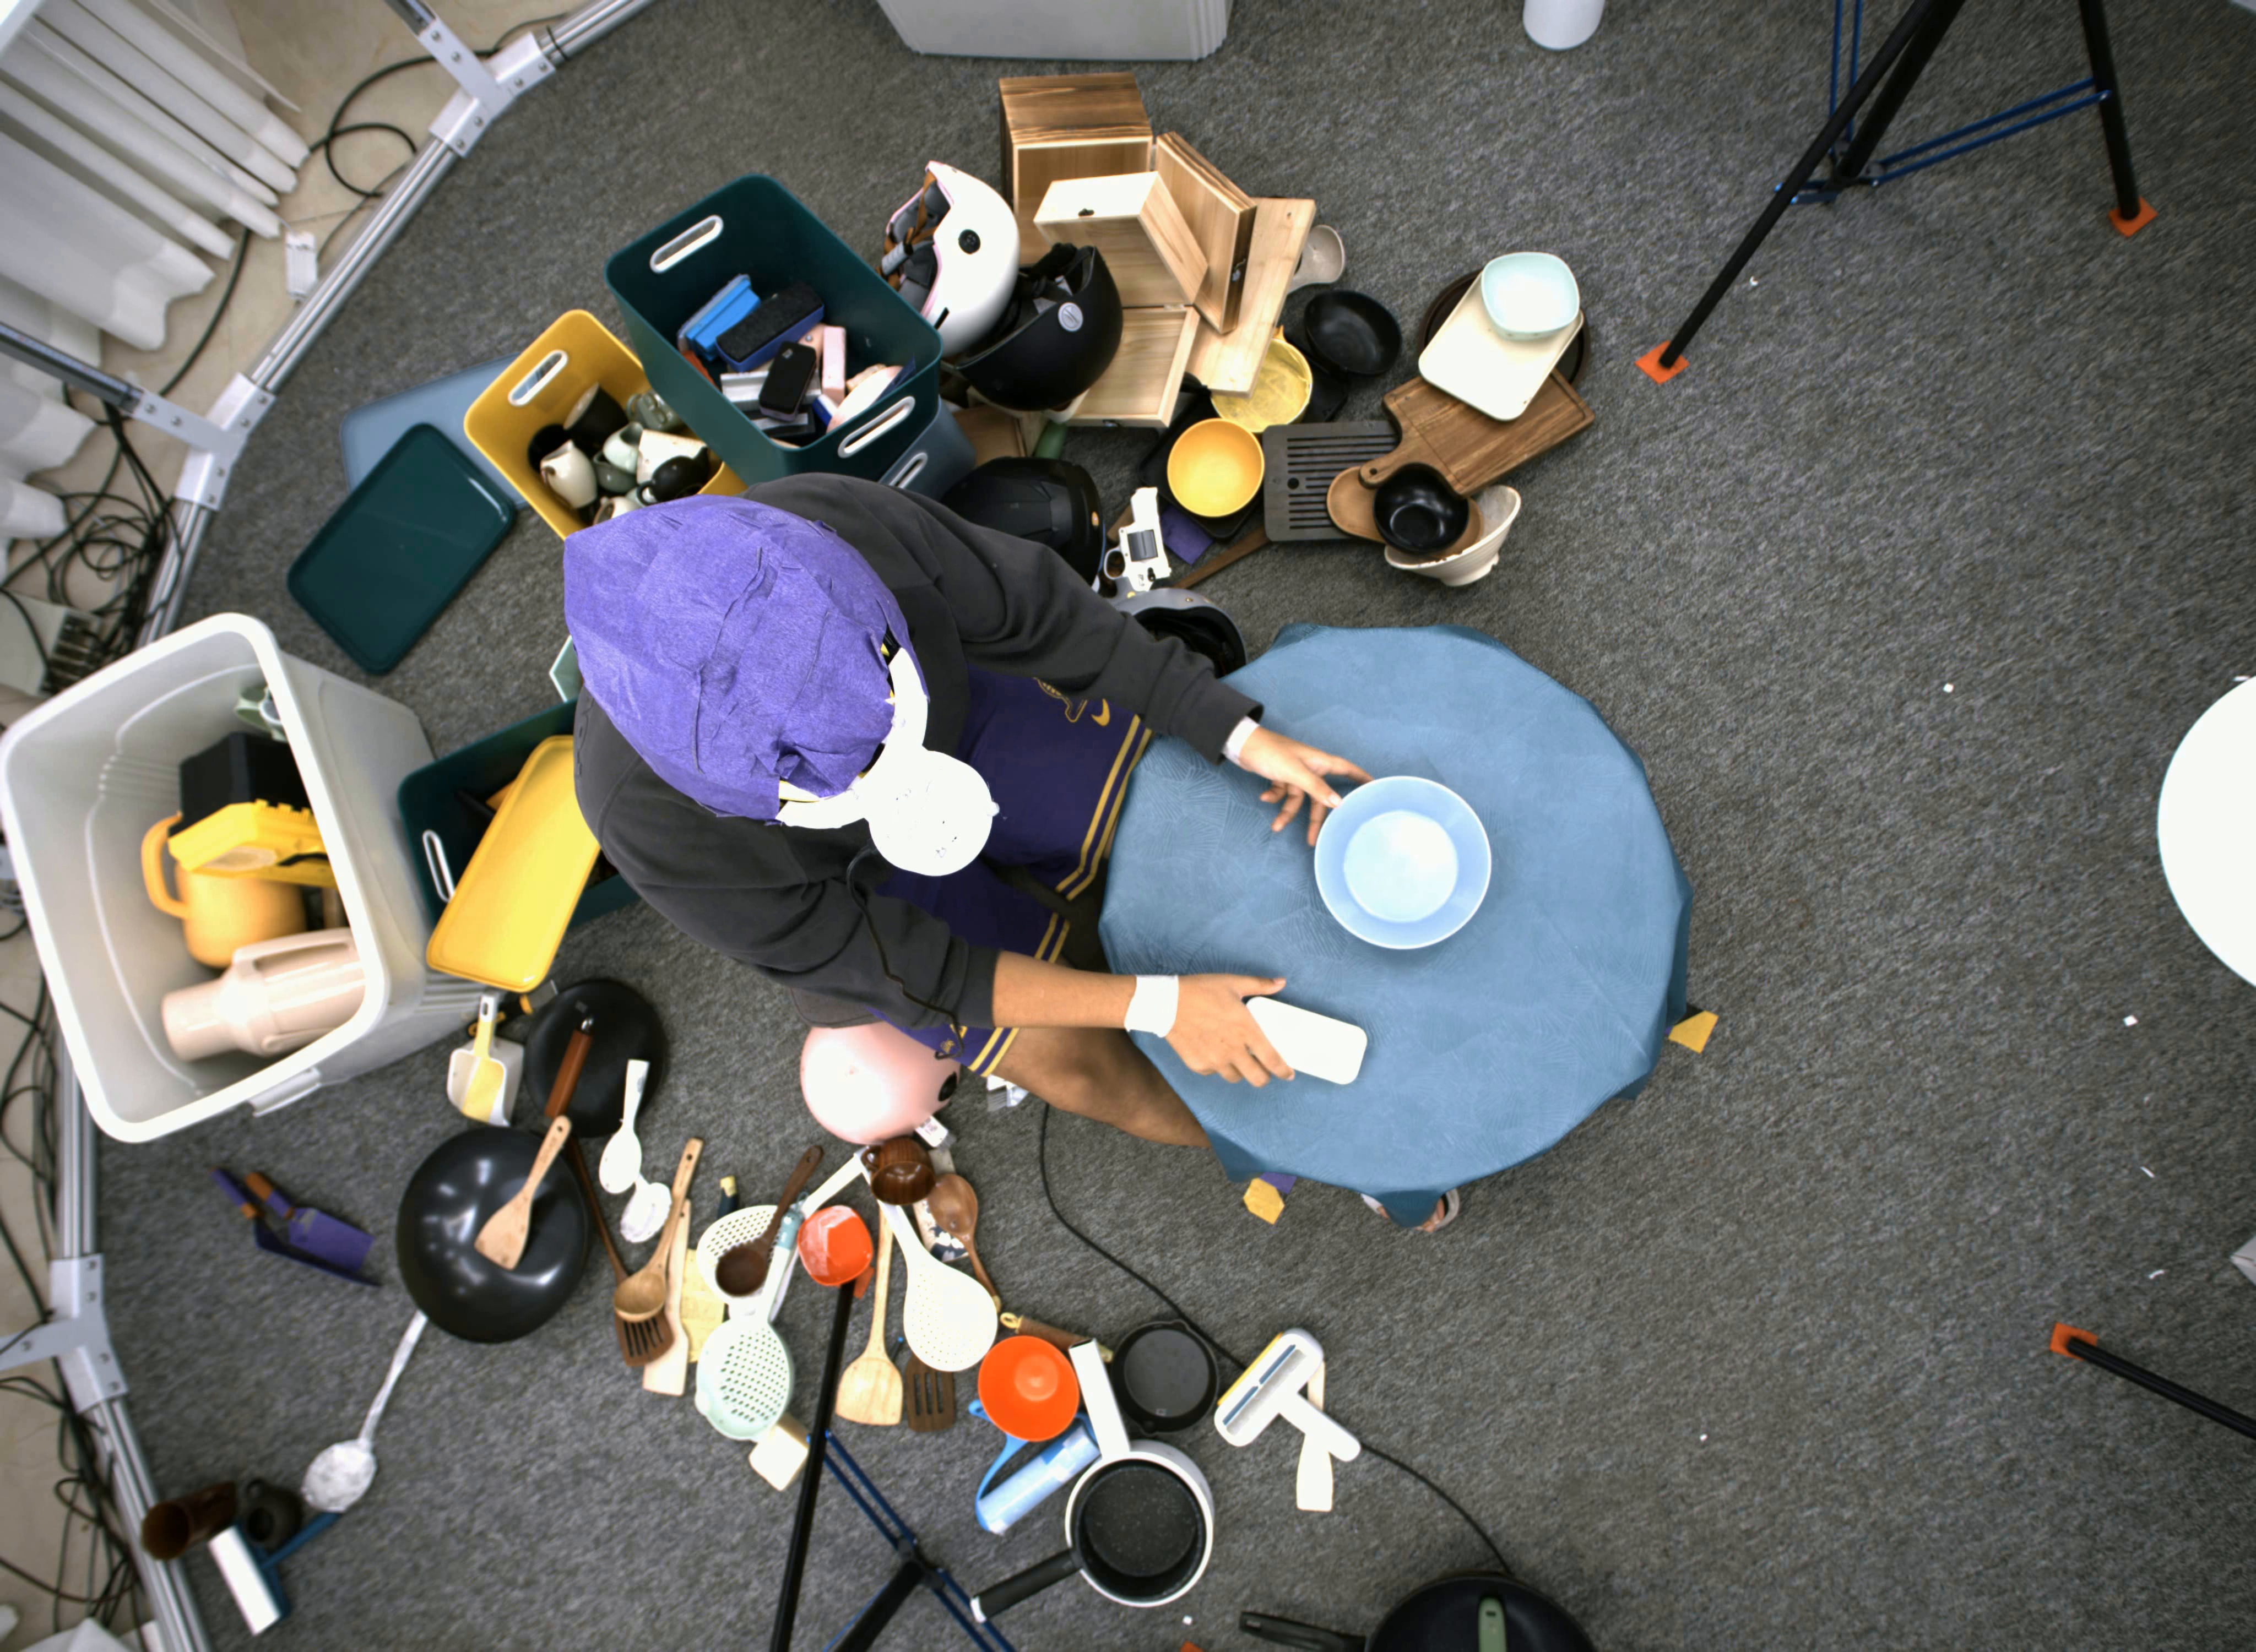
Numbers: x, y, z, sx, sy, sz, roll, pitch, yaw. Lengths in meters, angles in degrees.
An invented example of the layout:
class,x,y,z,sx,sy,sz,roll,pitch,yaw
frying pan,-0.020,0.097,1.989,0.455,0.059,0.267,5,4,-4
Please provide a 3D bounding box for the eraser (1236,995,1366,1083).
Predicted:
class,x,y,z,sx,sy,sz,roll,pitch,yaw
eraser,0.181,0.220,1.451,0.131,0.034,0.063,19,88,9

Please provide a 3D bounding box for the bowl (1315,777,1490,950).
class,x,y,z,sx,sy,sz,roll,pitch,yaw
bowl,0.281,0.039,1.423,0.177,0.070,0.175,-1,86,10
